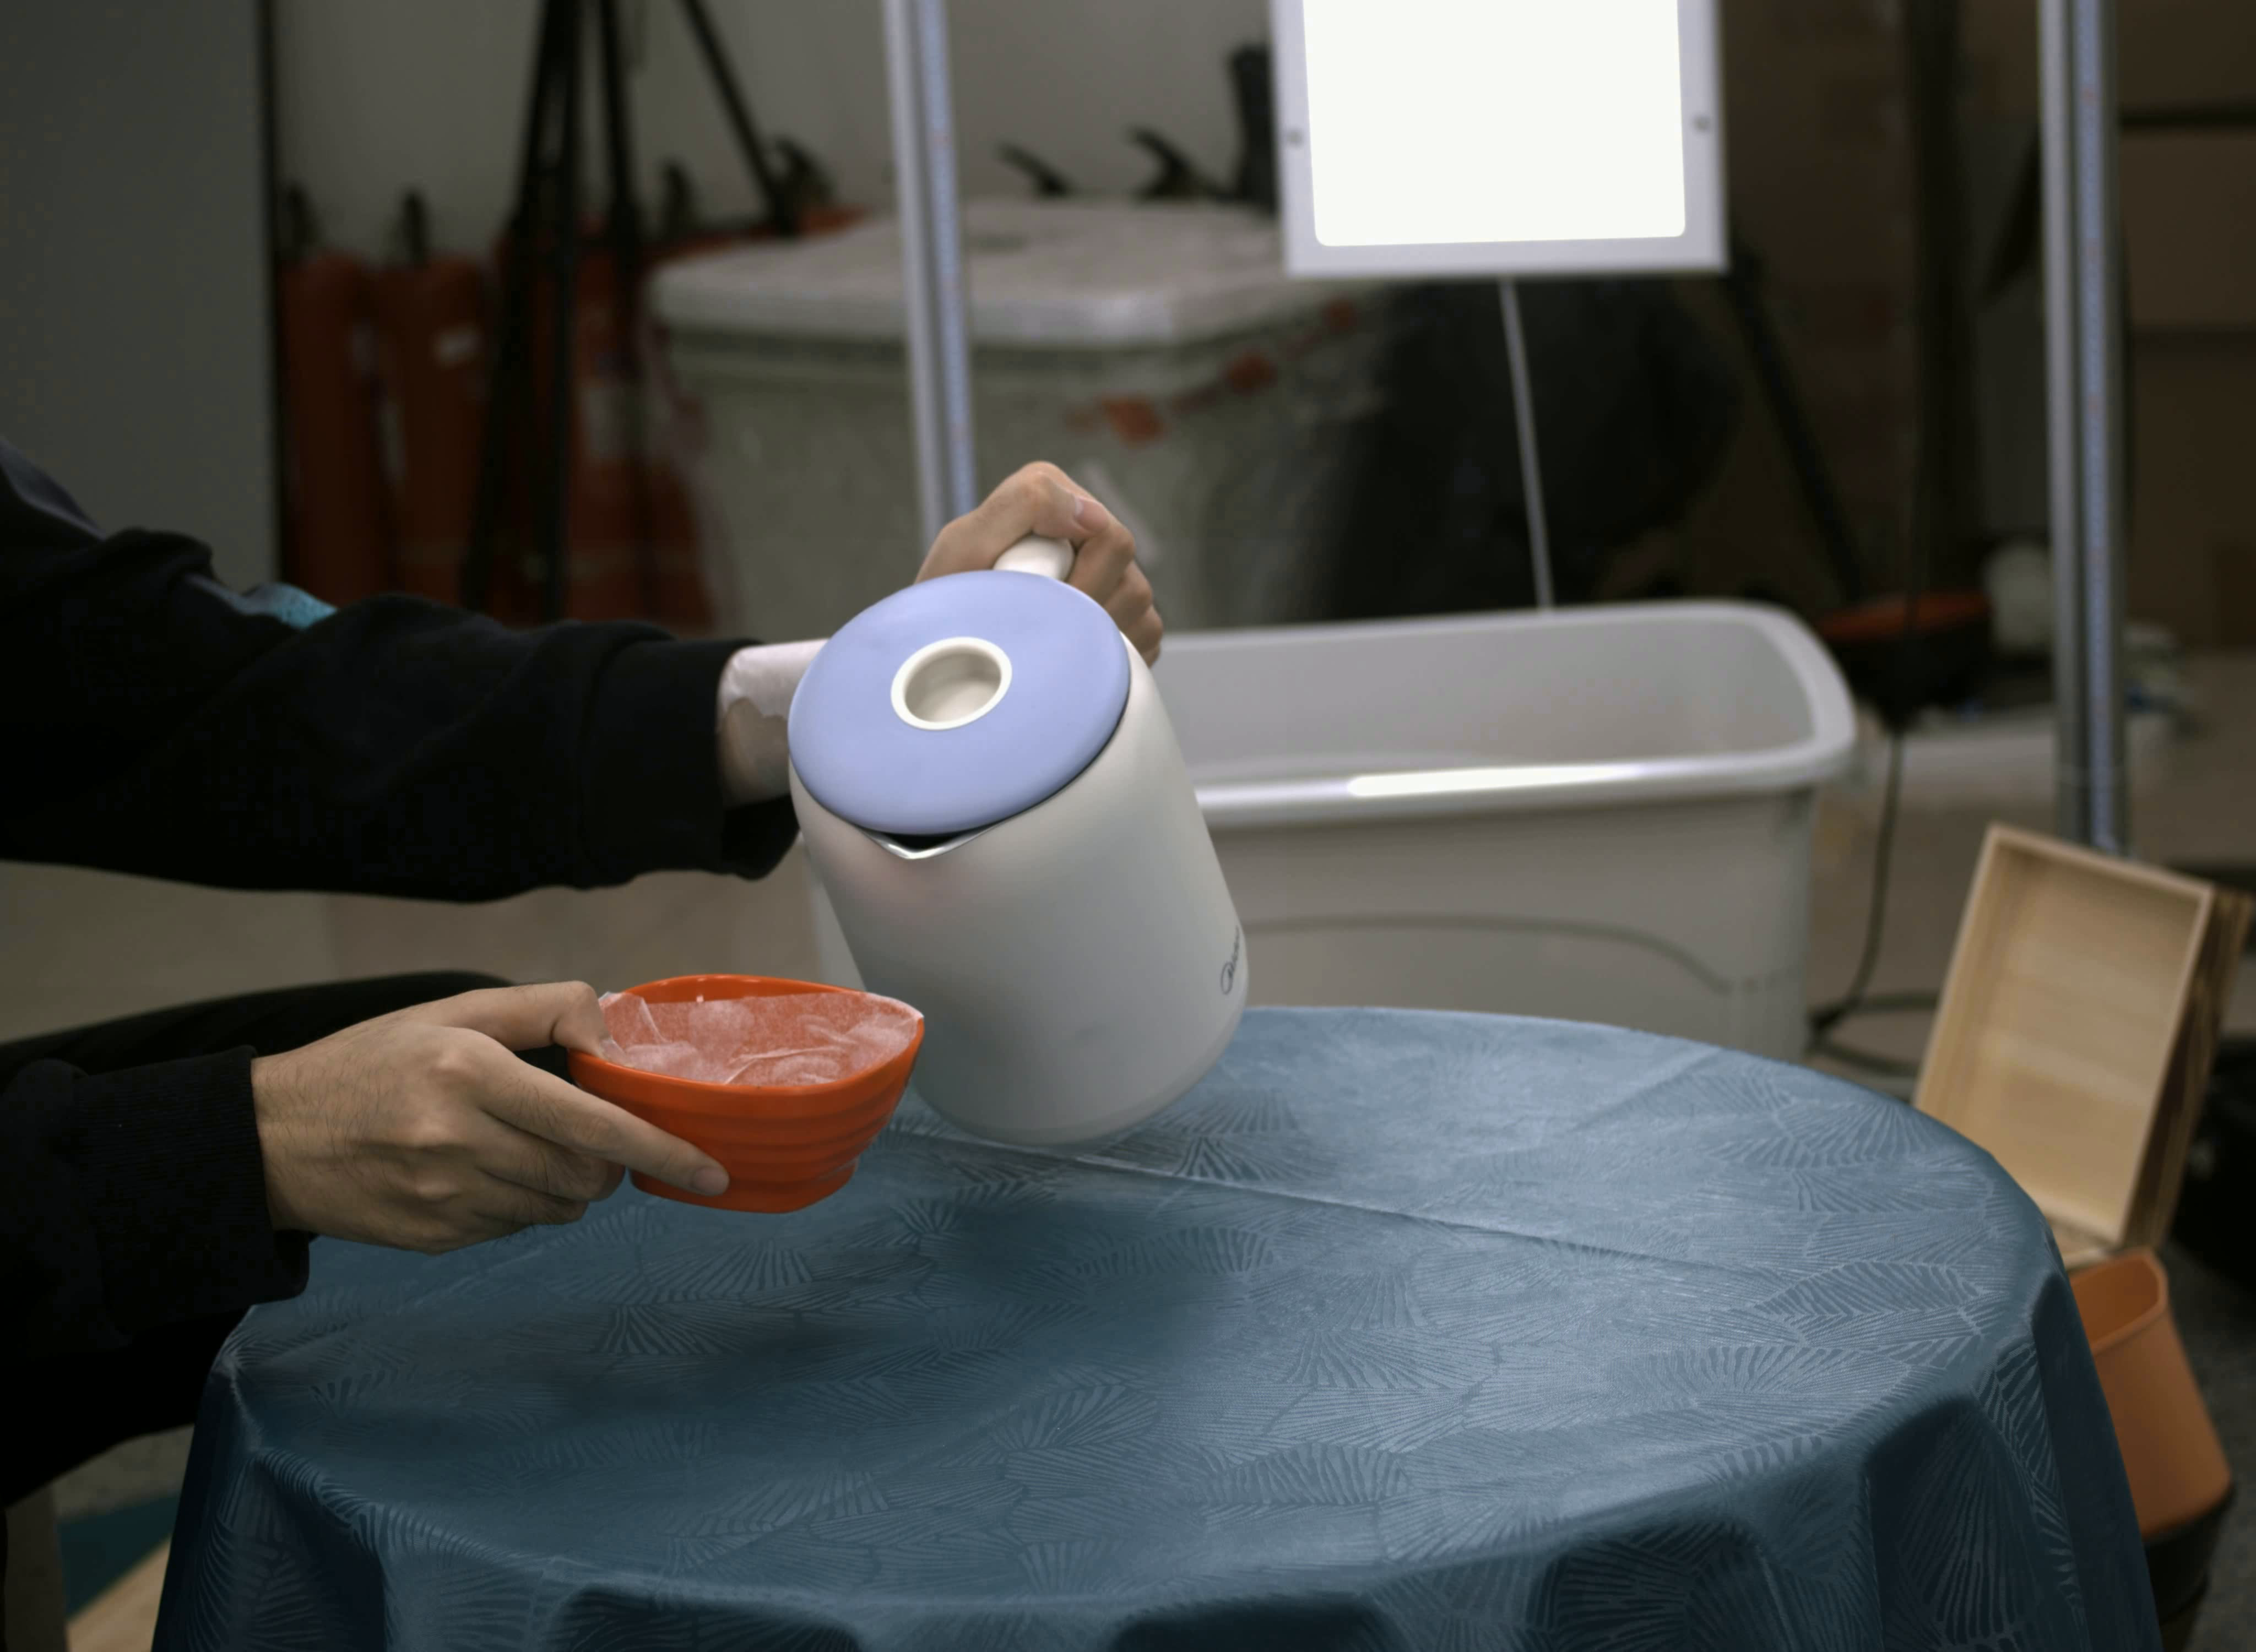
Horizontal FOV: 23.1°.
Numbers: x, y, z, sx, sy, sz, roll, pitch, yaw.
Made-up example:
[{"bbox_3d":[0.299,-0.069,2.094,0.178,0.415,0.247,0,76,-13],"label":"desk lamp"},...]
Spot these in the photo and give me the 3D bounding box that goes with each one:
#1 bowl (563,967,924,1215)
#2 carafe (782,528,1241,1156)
[{"bbox_3d":[-0.124,0.087,1.771,0.118,0.051,0.119,2,18,-2],"label":"bowl"},{"bbox_3d":[-0.036,-0.005,1.906,0.133,0.182,0.189,-2,45,16],"label":"carafe"}]
